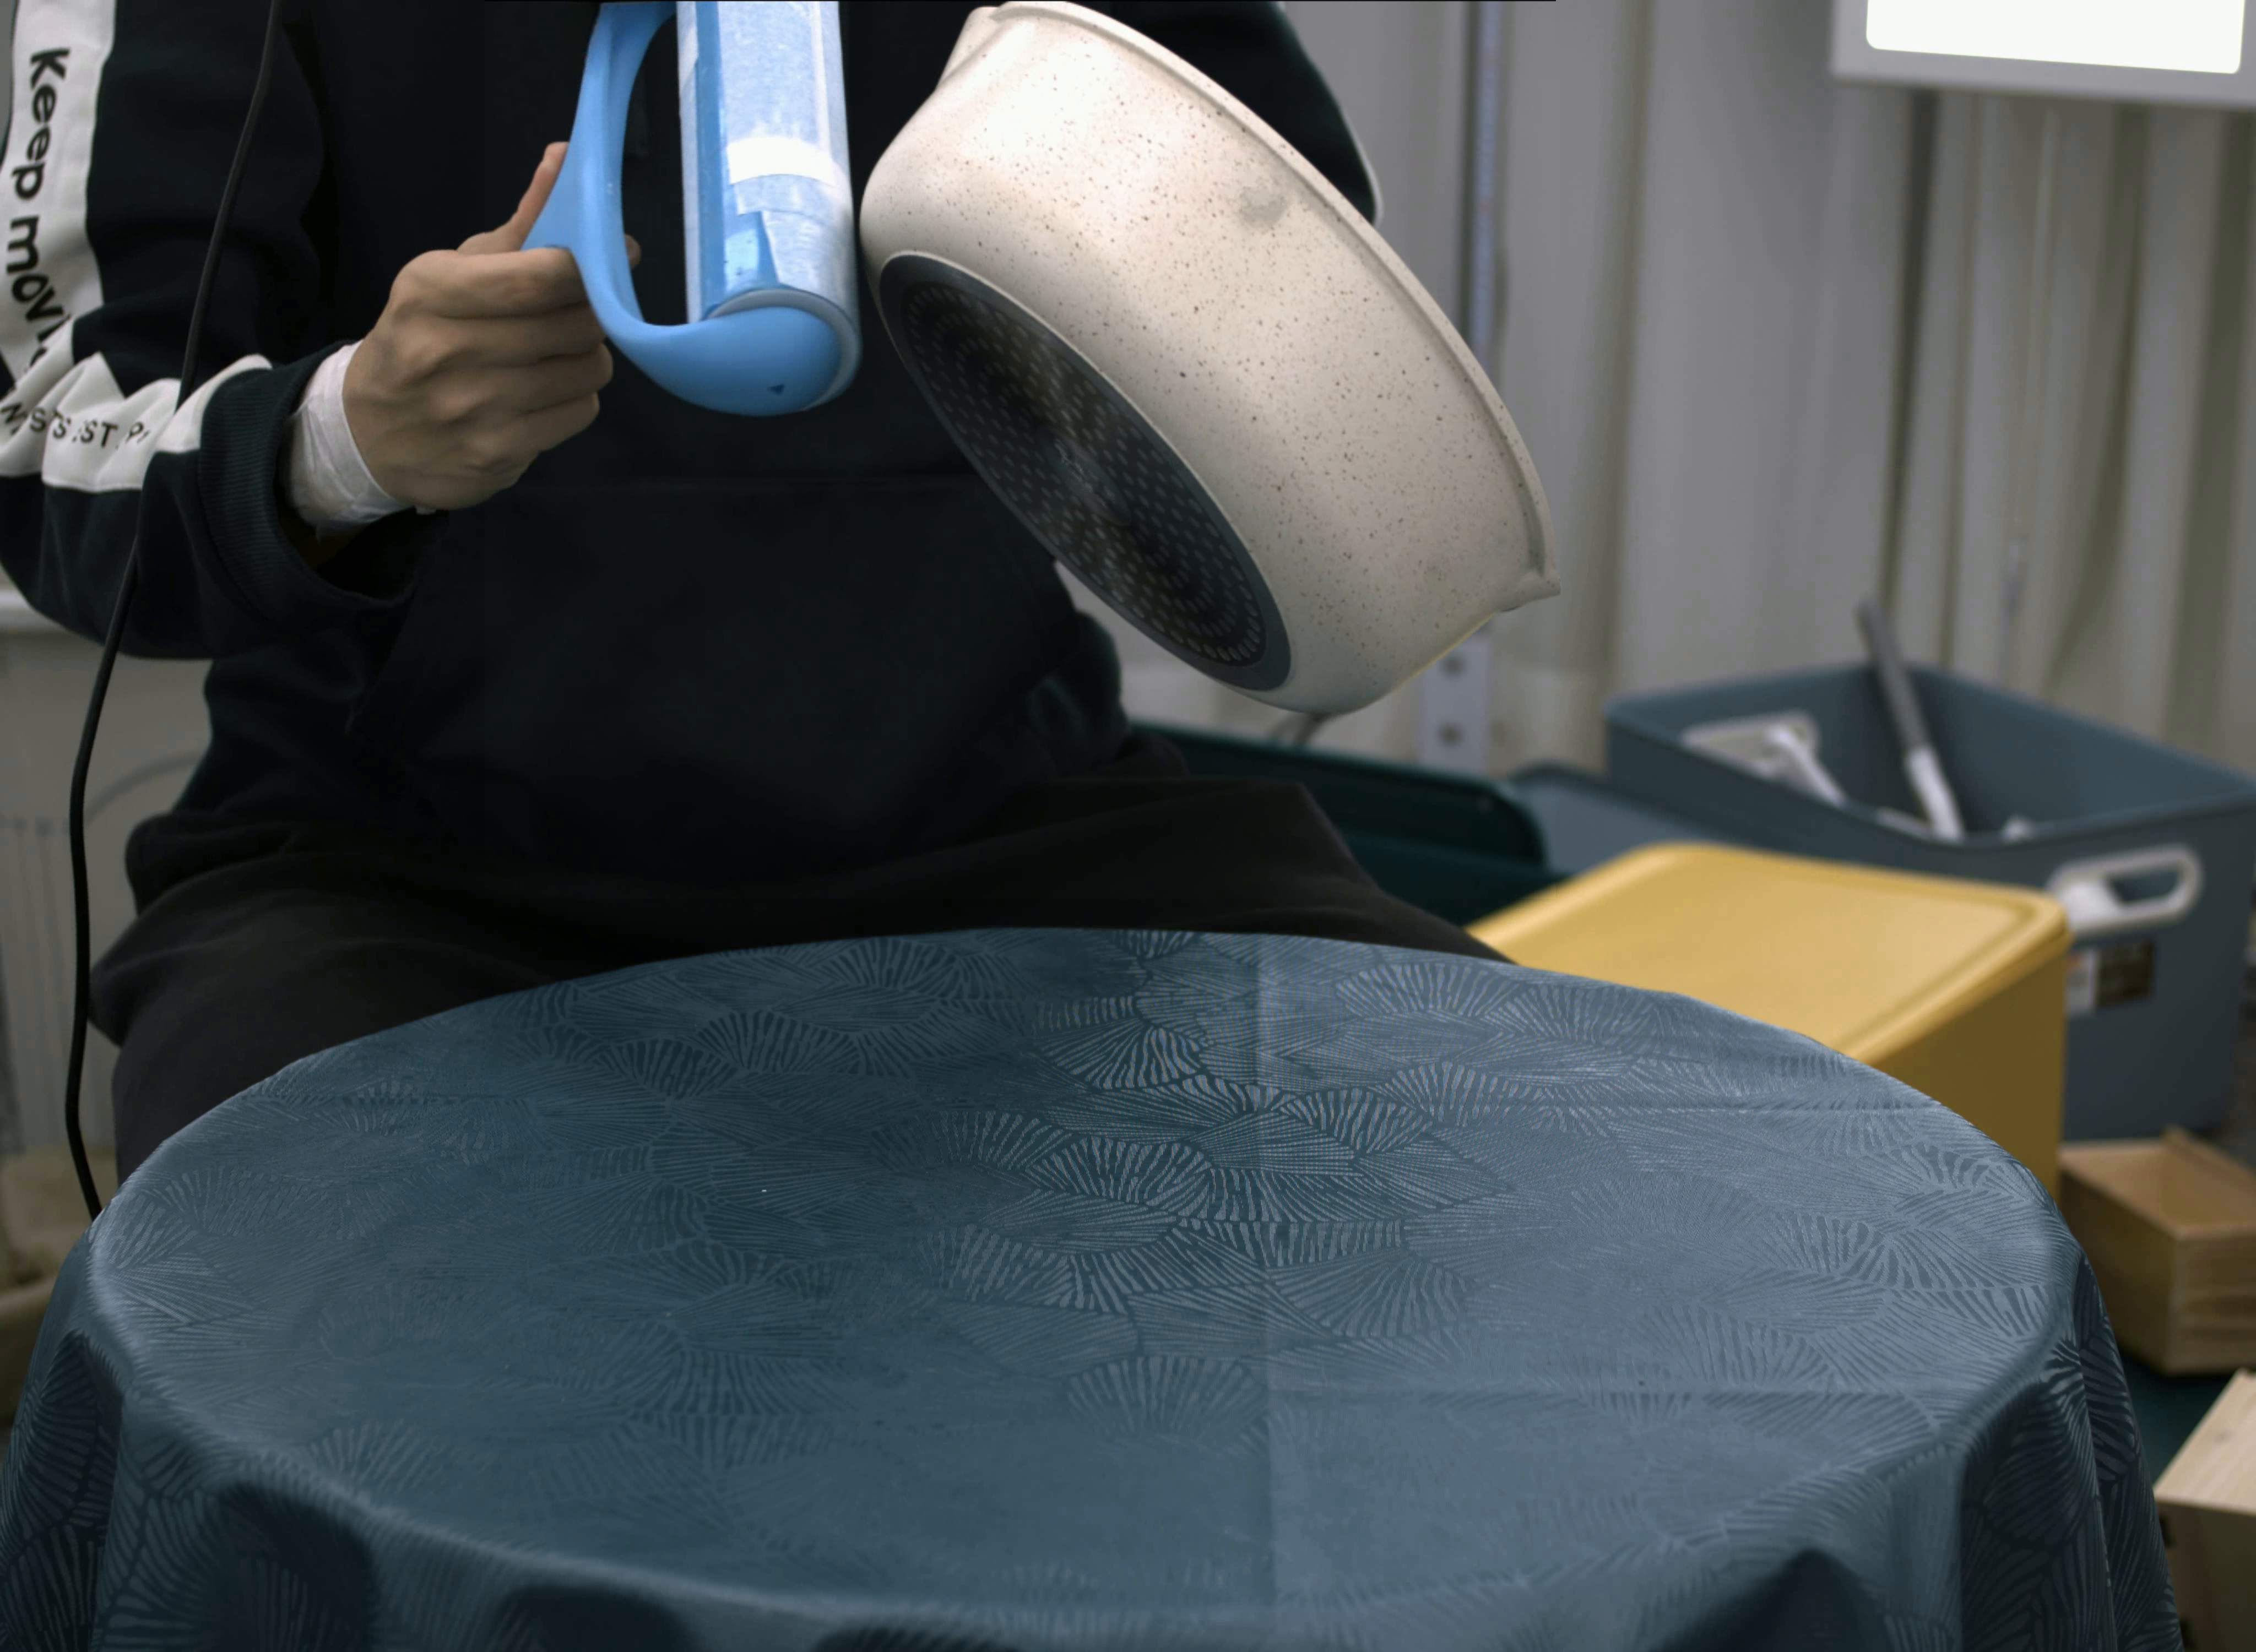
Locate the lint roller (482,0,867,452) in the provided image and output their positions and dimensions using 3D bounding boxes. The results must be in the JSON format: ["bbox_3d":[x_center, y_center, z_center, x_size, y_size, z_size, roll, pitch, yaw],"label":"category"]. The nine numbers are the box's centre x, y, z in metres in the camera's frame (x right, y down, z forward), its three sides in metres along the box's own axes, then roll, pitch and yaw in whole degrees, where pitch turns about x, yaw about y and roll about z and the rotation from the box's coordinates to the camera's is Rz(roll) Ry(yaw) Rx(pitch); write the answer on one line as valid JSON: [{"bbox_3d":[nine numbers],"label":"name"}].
[{"bbox_3d":[-0.161,-0.186,1.703,0.069,0.180,0.226,37,30,-38],"label":"lint roller"}]

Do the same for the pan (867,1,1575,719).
[{"bbox_3d":[0.015,-0.118,1.739,0.262,0.102,0.436,43,-14,5],"label":"pan"}]
